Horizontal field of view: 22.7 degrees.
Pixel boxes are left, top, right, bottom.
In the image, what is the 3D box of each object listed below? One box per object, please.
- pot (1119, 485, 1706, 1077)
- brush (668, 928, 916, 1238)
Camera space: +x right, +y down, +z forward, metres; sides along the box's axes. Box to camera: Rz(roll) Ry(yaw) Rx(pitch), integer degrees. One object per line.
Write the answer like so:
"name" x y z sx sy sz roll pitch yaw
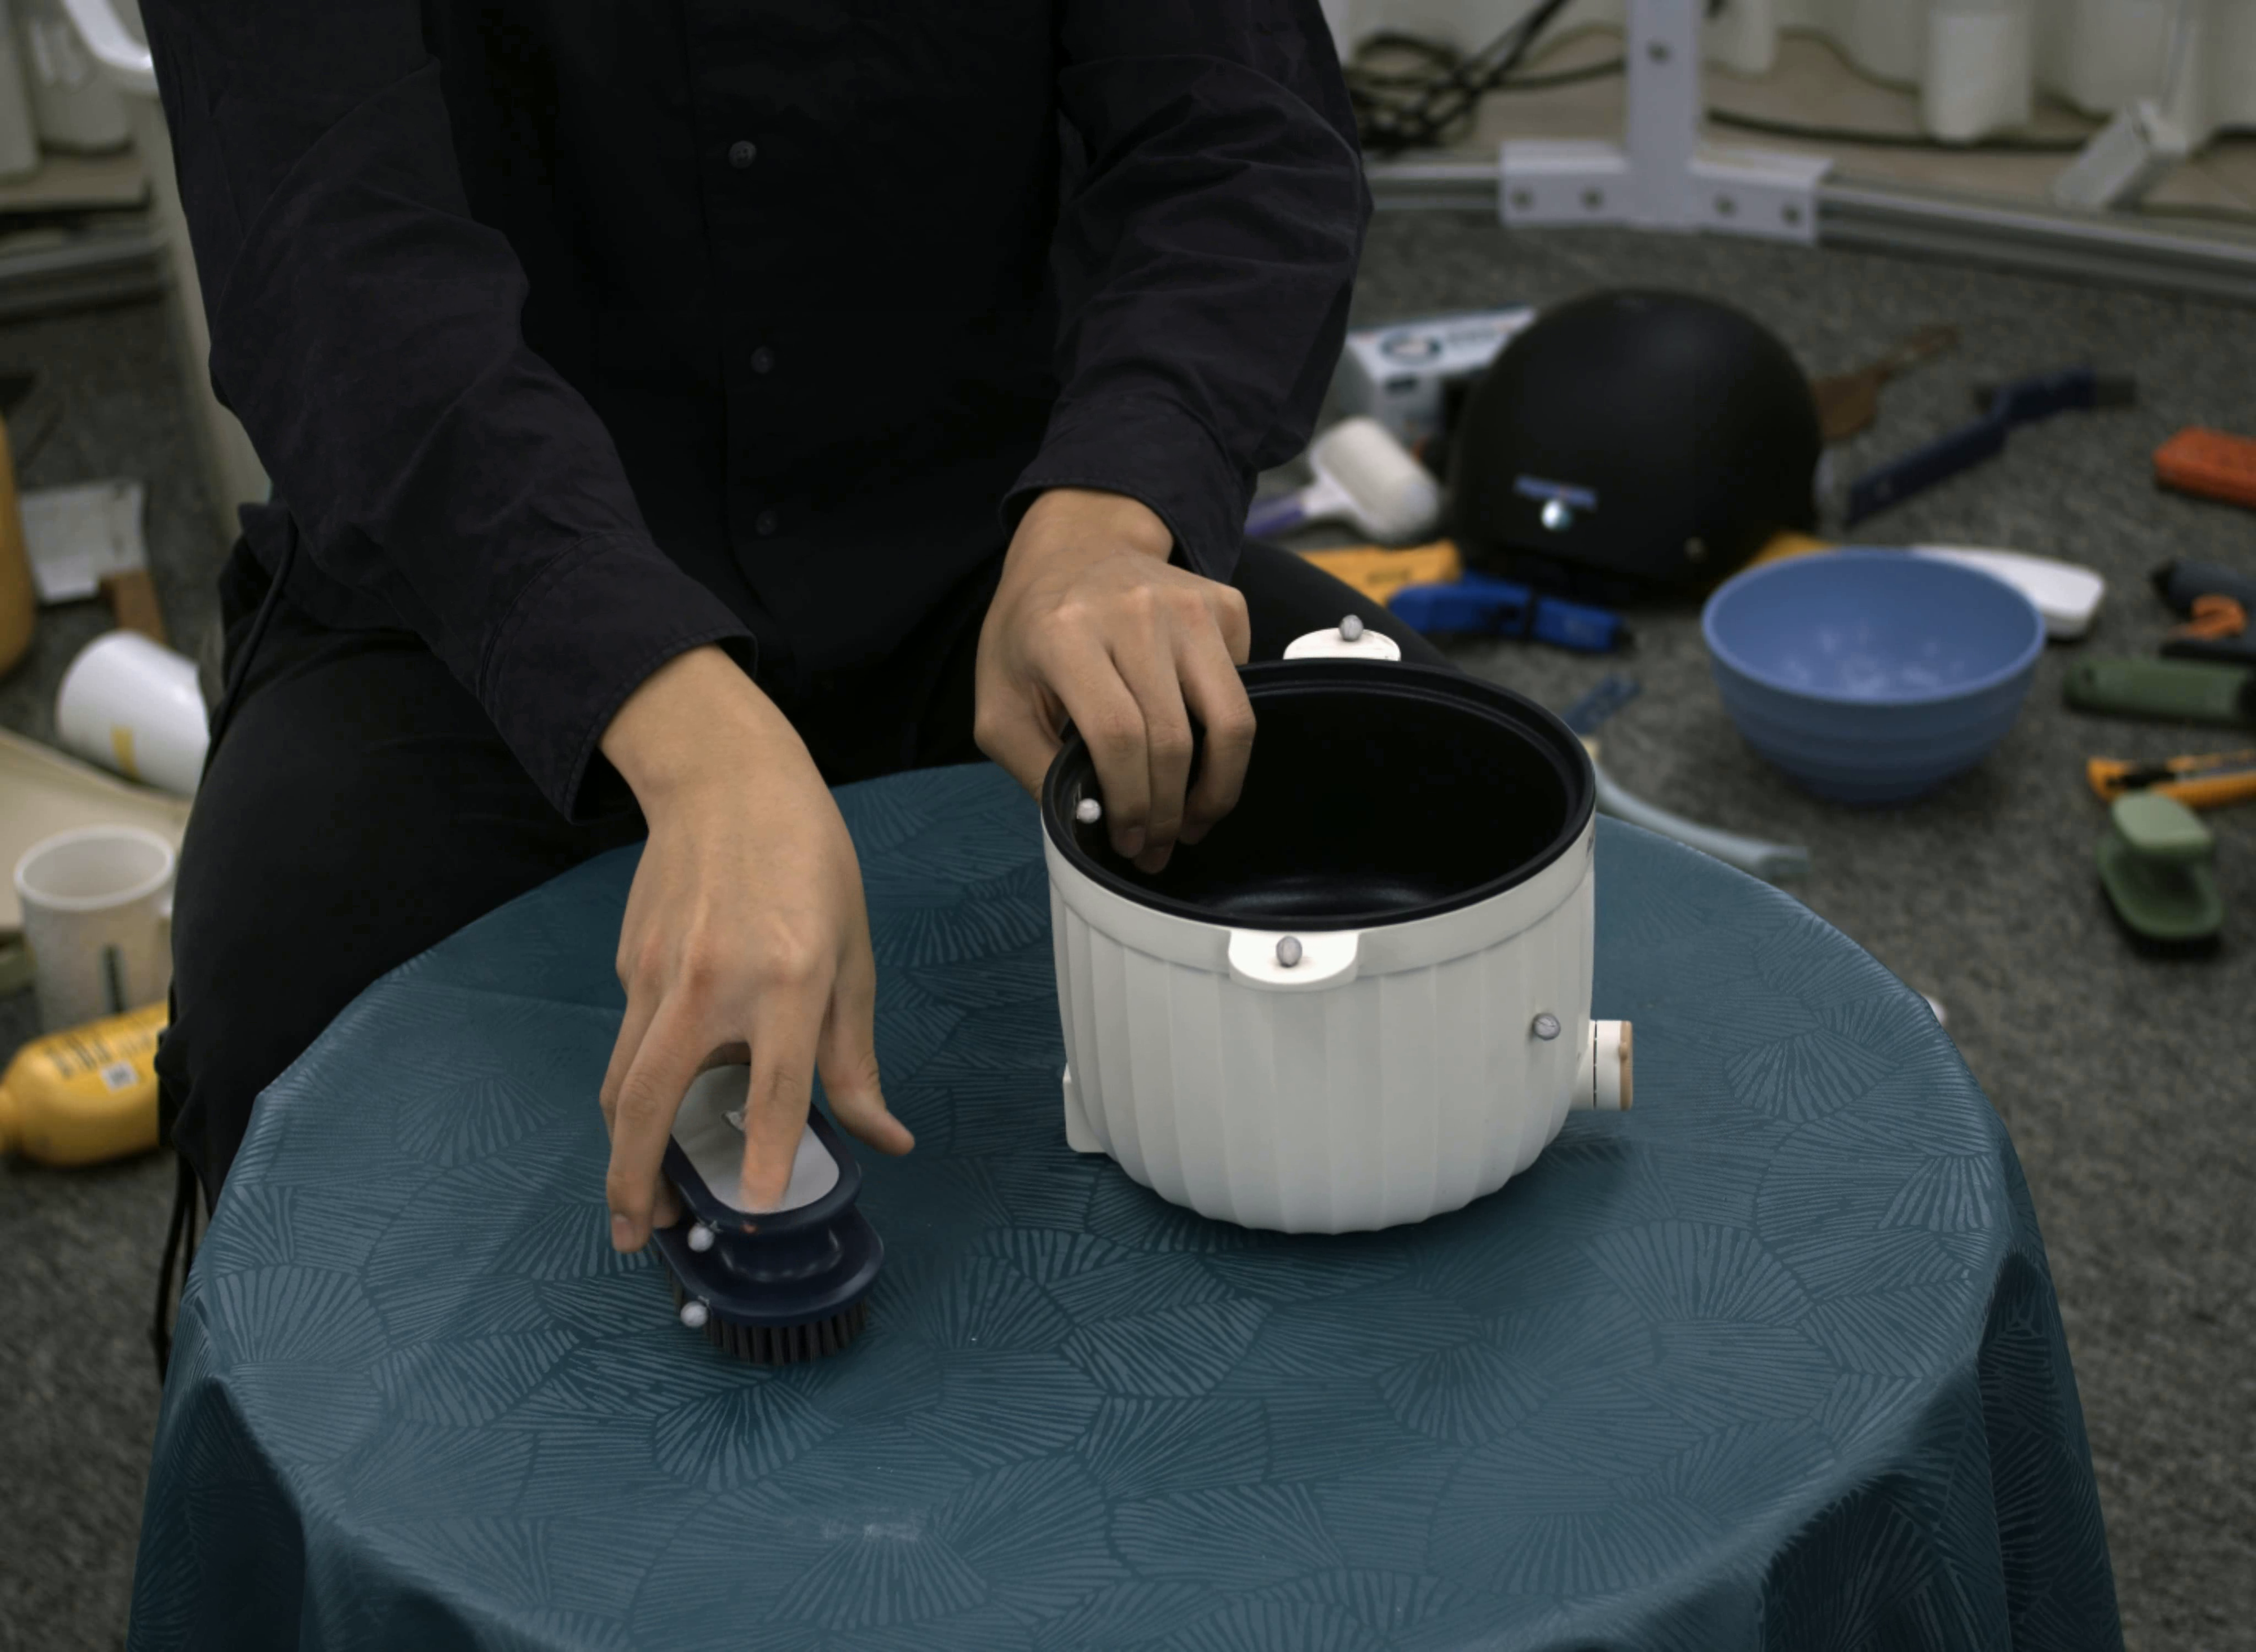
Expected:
"pot" 0.096 -0.007 1.882 0.189 0.141 0.244 -2 29 7
"brush" -0.110 0.085 1.835 0.068 0.060 0.123 -13 32 -13
